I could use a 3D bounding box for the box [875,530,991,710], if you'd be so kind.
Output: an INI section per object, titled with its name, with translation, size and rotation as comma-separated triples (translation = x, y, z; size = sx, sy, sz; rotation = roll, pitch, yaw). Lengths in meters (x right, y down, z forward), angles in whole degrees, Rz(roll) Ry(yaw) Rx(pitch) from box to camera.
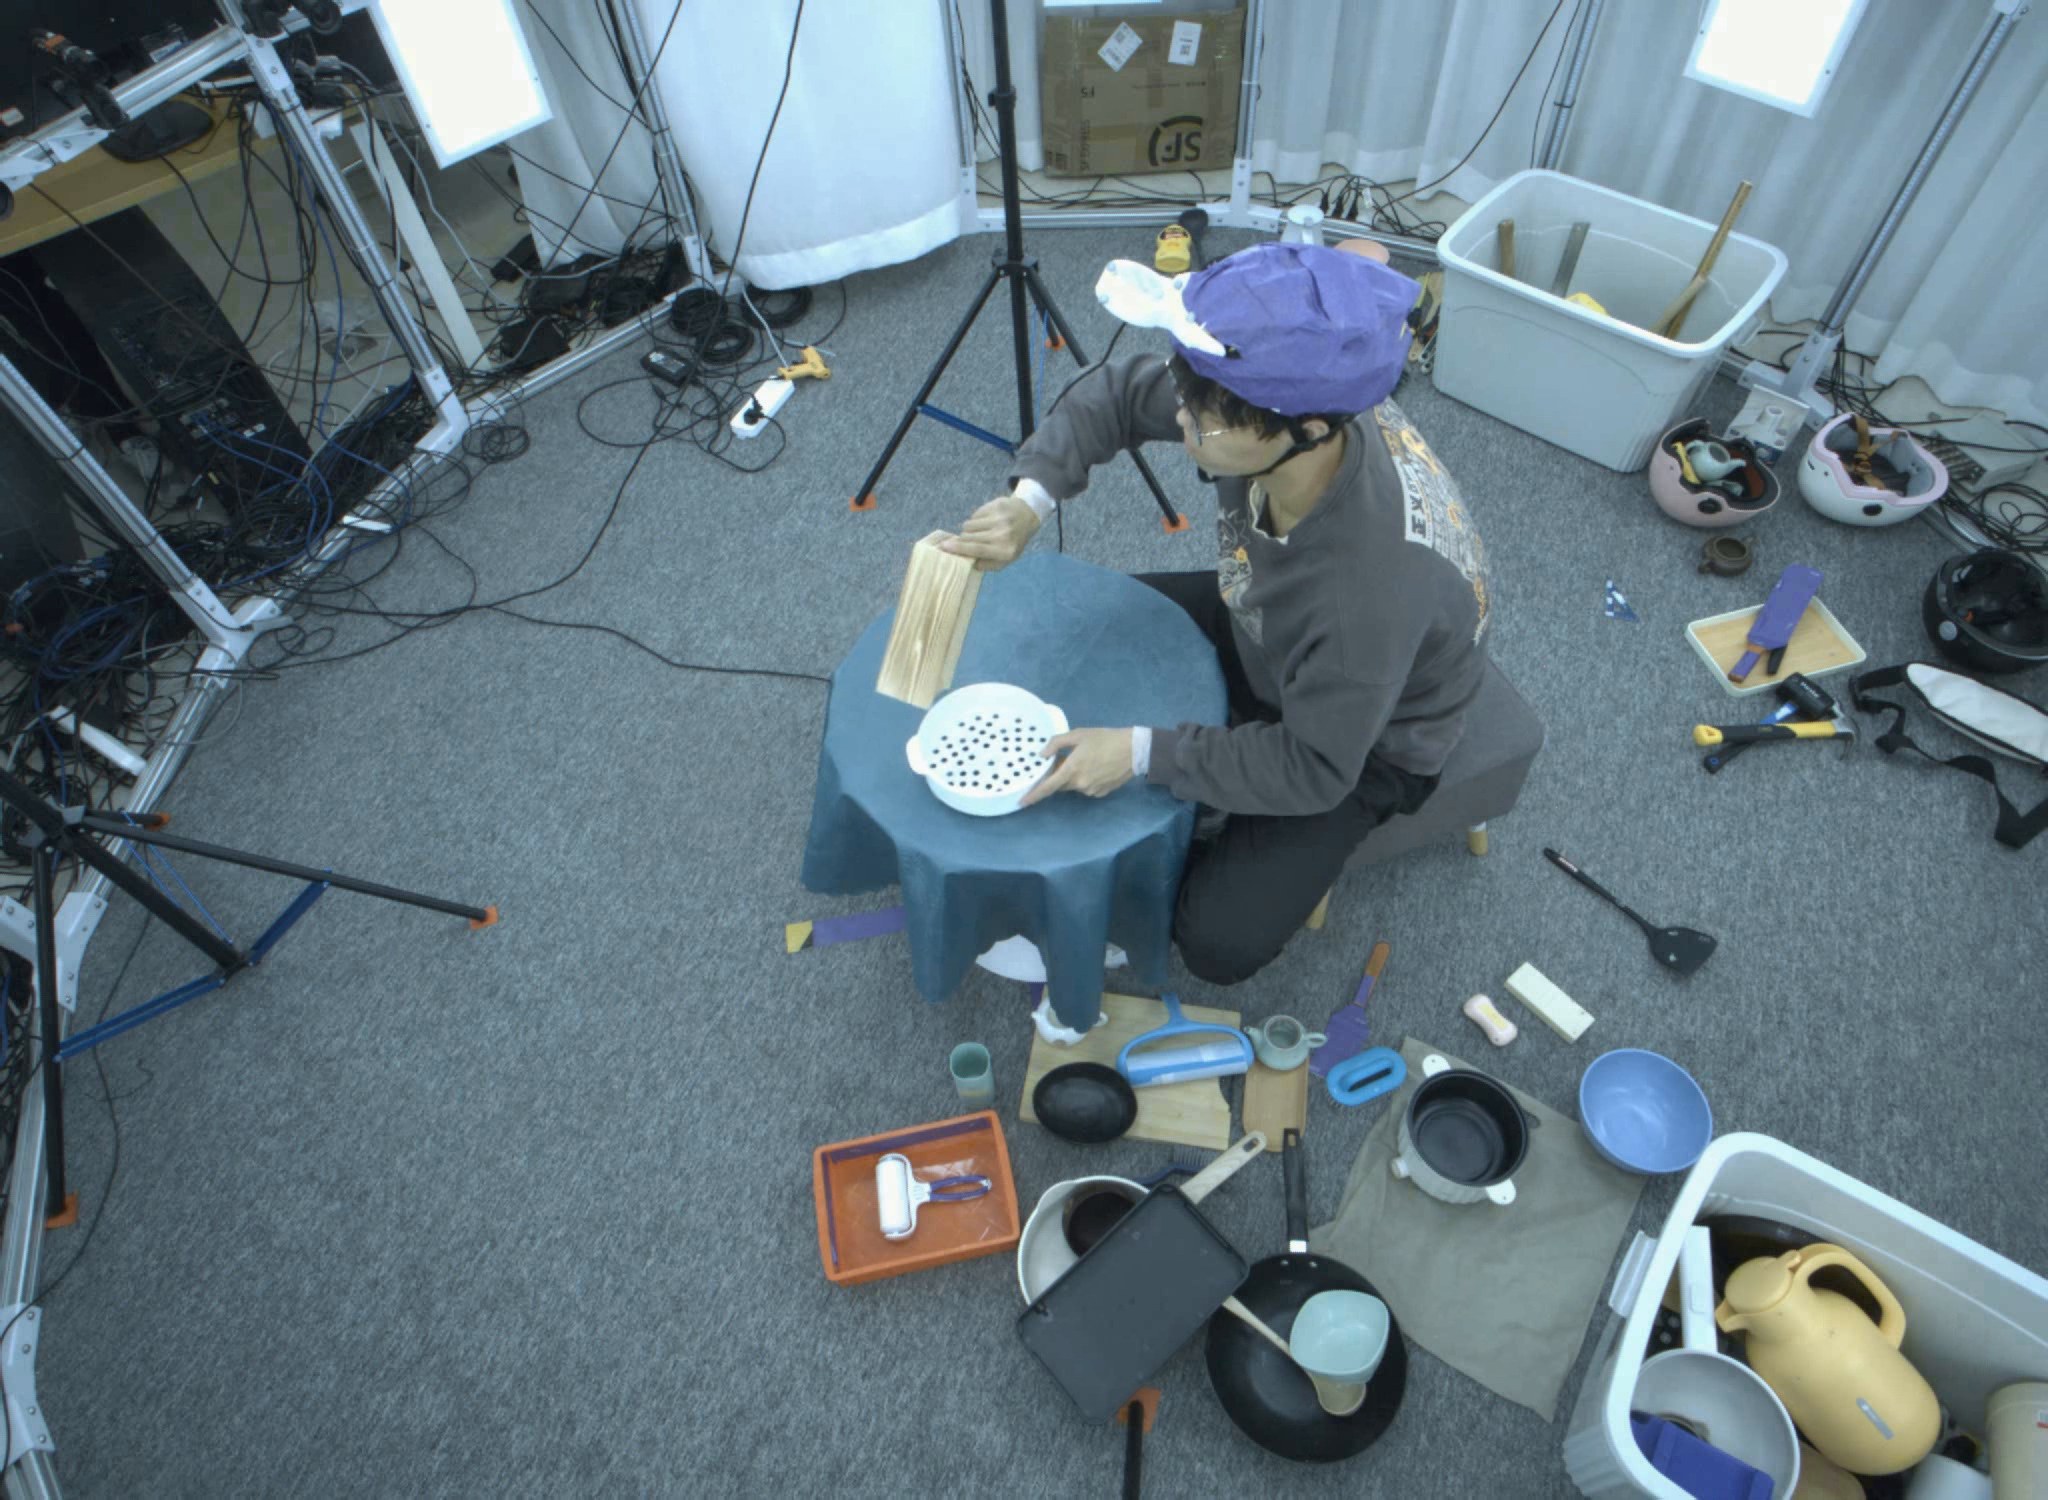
[box]
translation = -0.123, -0.176, 1.636
size = 0.080, 0.212, 0.107
rotation = 20, 23, 4

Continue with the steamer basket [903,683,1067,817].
[steamer basket]
translation = -0.054, 0.002, 1.743
size = 0.232, 0.070, 0.198
rotation = -12, 55, -8
